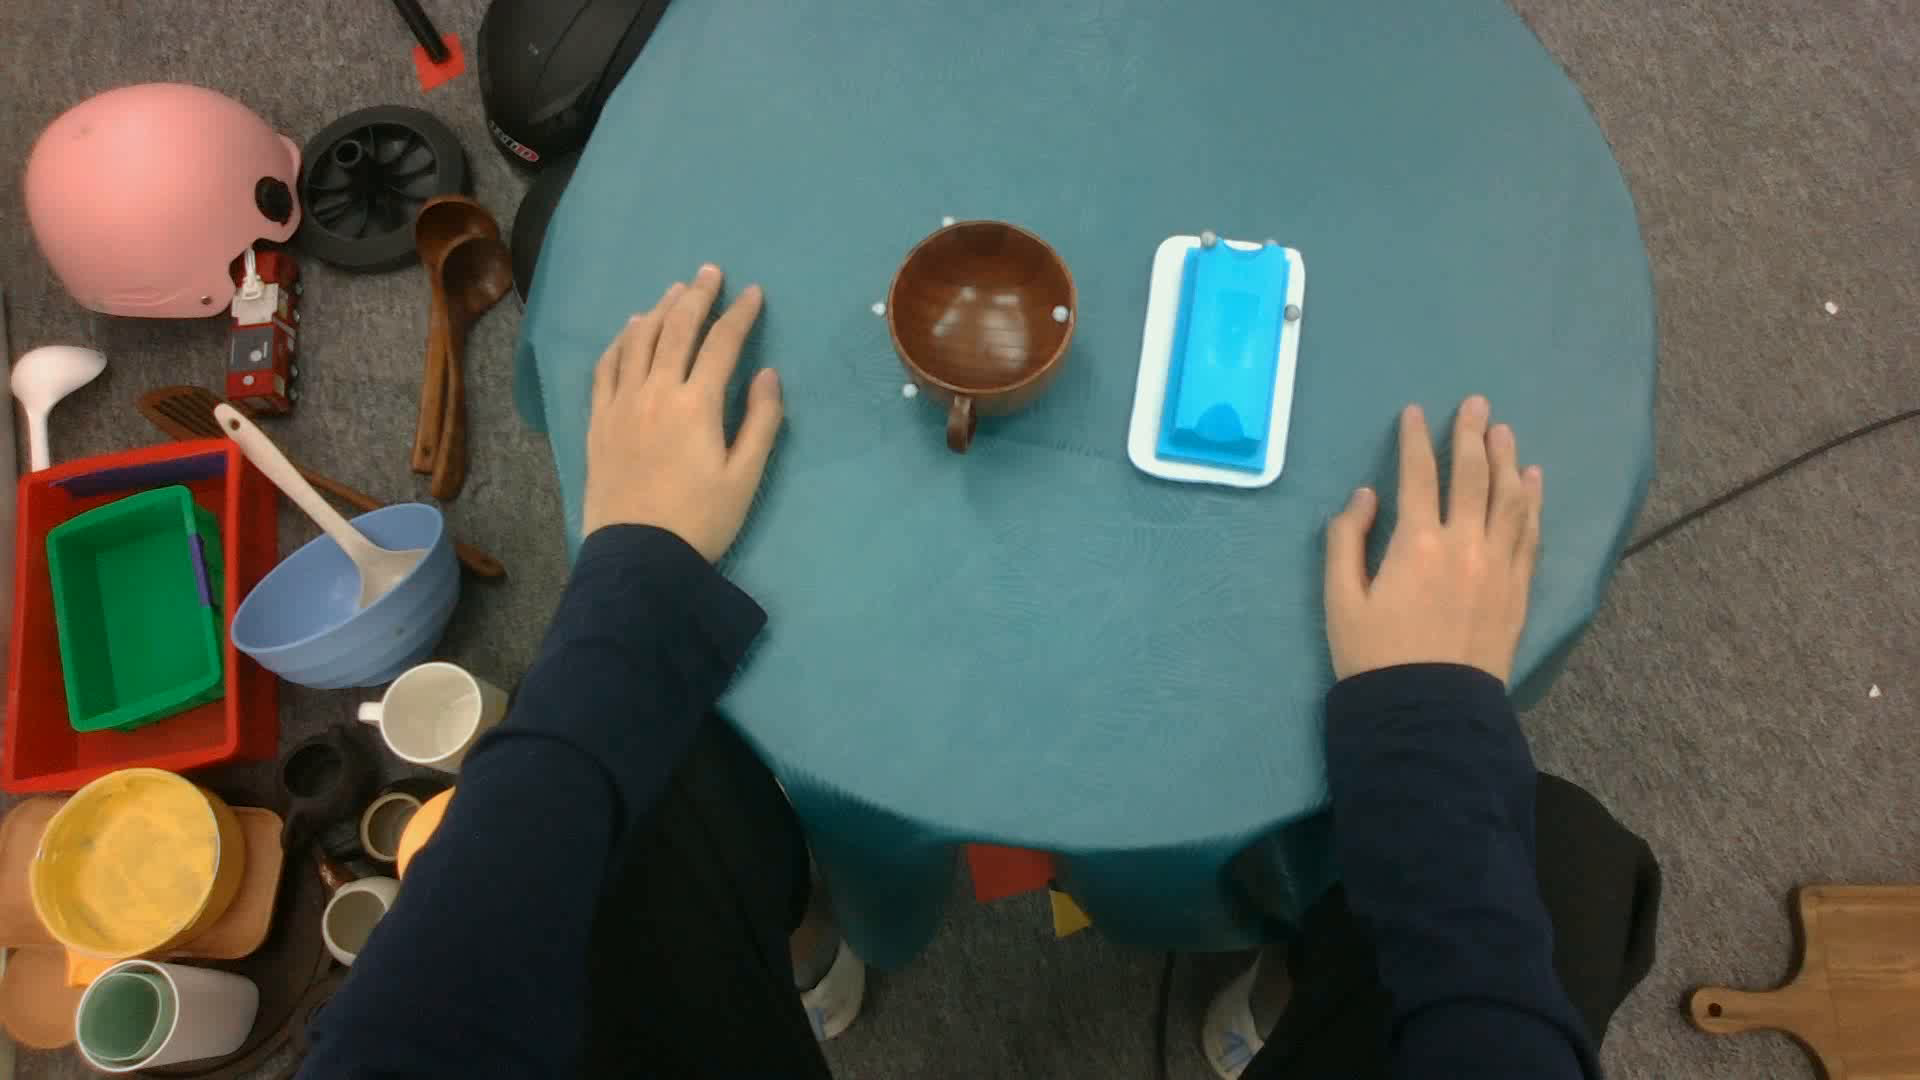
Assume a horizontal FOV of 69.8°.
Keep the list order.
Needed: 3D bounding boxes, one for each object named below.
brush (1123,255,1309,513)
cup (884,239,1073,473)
[{"bbox_3d":[0.135,-0.088,0.714,0.084,0.056,0.144,9,70,9],"label":"brush"},{"bbox_3d":[0.007,-0.089,0.719,0.096,0.067,0.120,9,75,2],"label":"cup"}]
